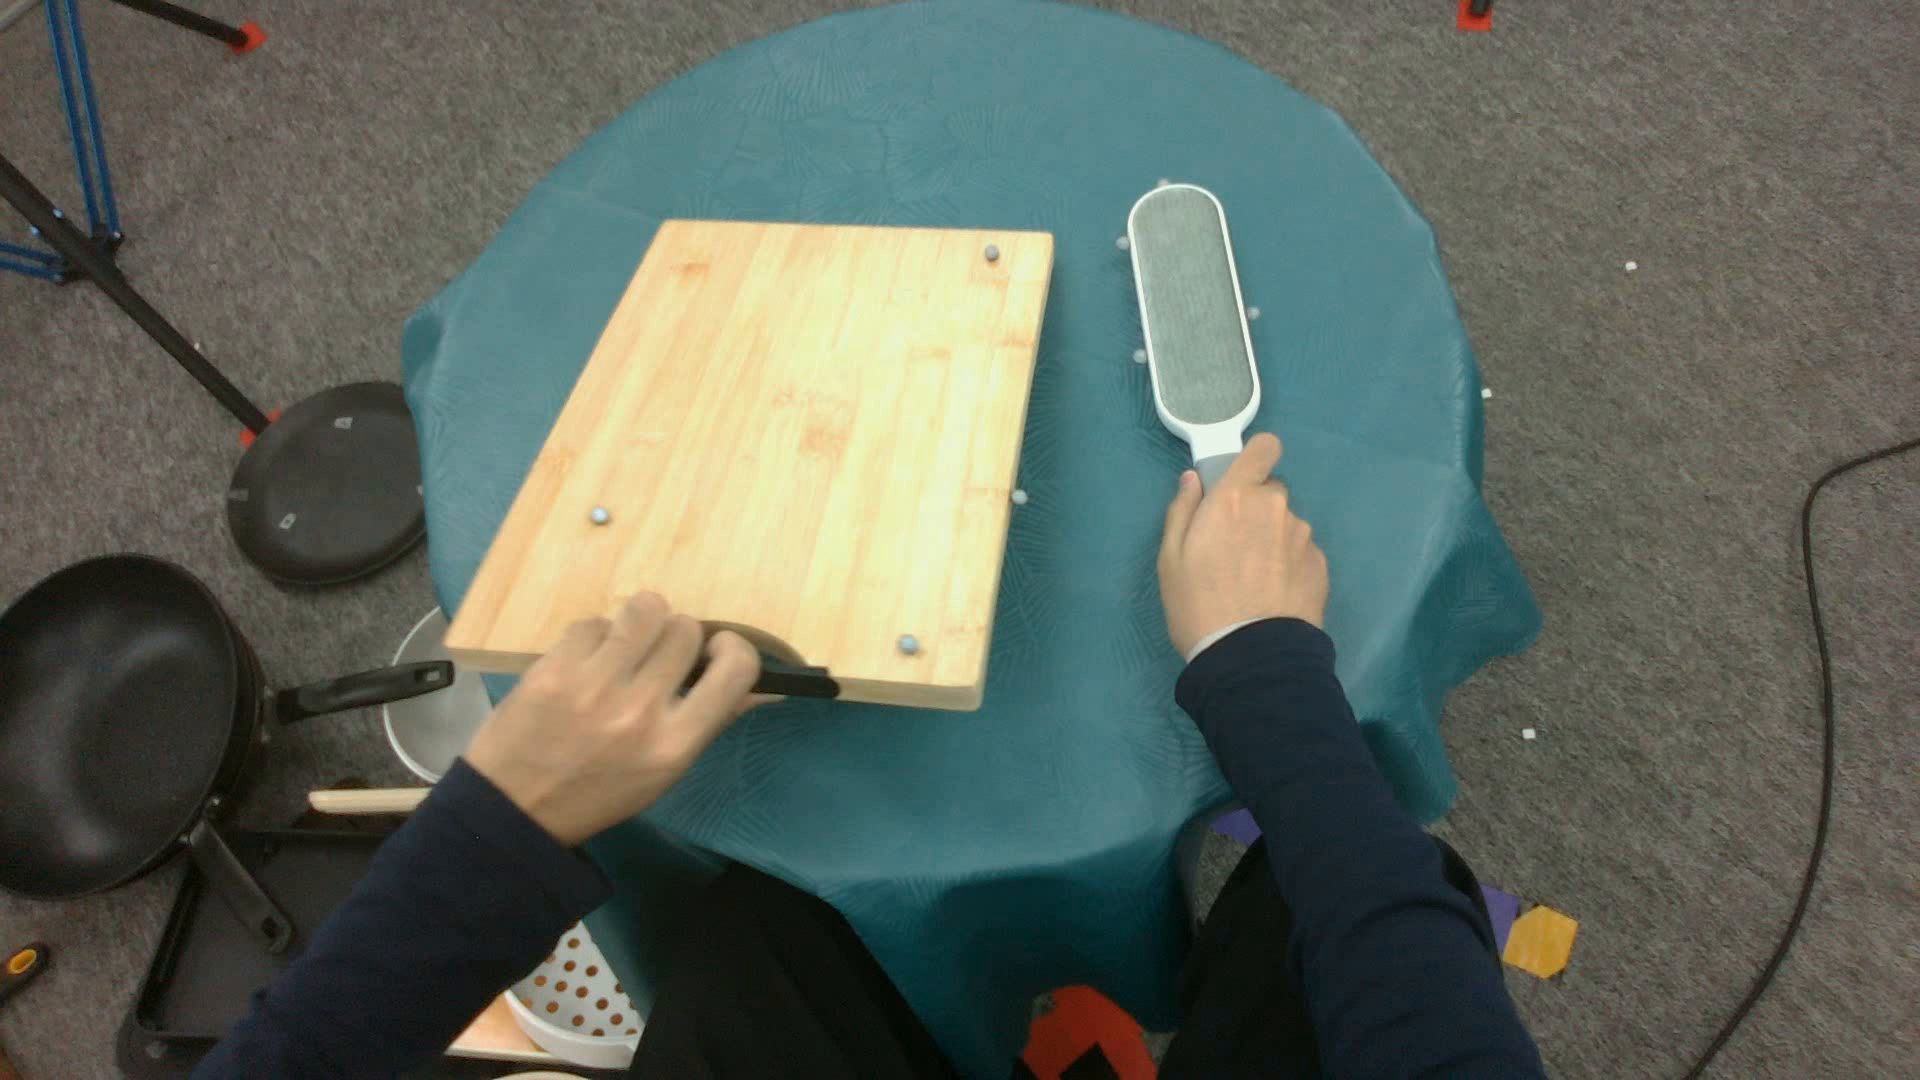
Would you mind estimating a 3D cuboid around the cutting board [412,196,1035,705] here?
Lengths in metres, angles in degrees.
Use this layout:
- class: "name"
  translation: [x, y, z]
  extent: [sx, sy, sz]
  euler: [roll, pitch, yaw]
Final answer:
- class: "cutting board"
  translation: [-0.099, -0.068, 0.714]
  extent: [0.250, 0.023, 0.350]
  euler: [3, 48, 6]

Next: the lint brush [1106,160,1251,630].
- class: "lint brush"
  translation: [0.120, -0.091, 0.745]
  extent: [0.060, 0.021, 0.310]
  euler: [-5, 59, 2]
